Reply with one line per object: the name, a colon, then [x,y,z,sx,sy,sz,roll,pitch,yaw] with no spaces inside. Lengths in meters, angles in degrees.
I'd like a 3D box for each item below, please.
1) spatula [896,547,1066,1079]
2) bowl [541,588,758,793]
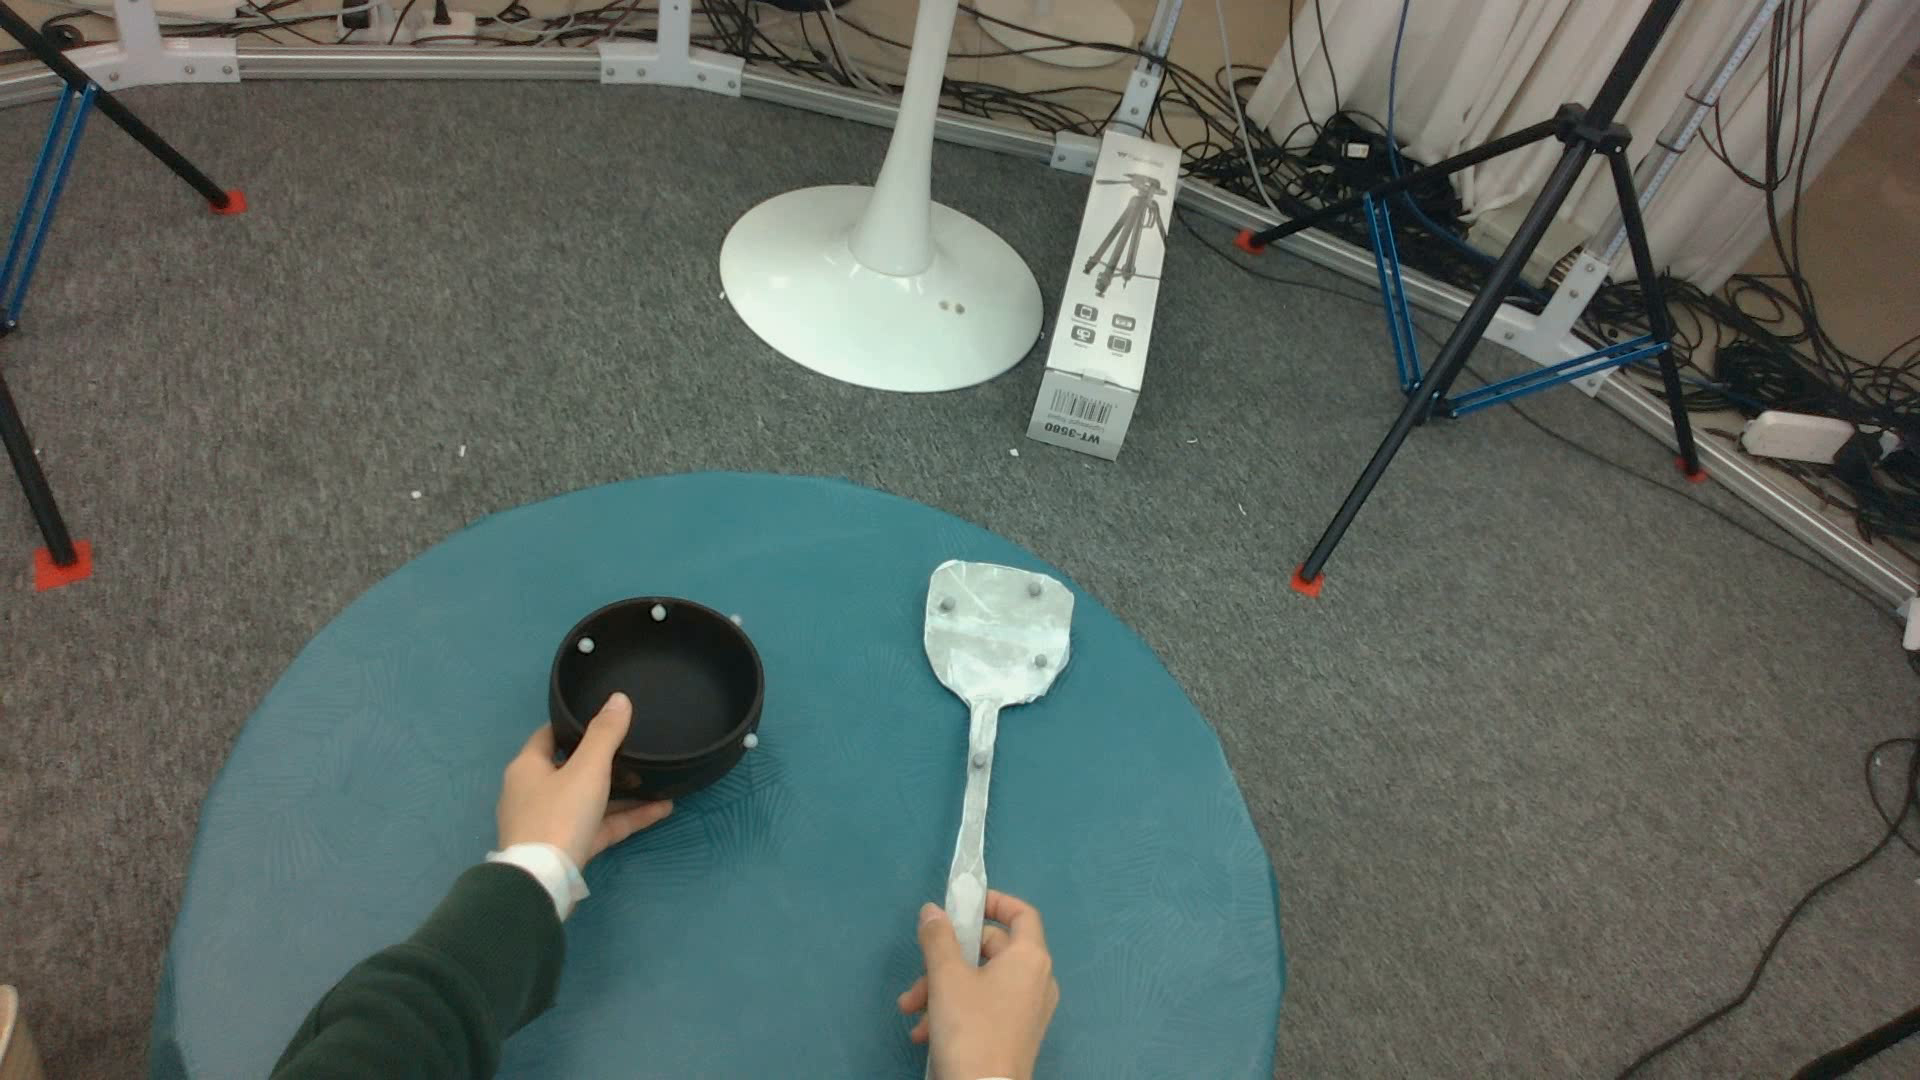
spatula: [0.003,0.139,0.798,0.099,0.044,0.367,13,39,-3]
bowl: [-0.176,0.092,0.779,0.118,0.069,0.118,8,46,-8]
